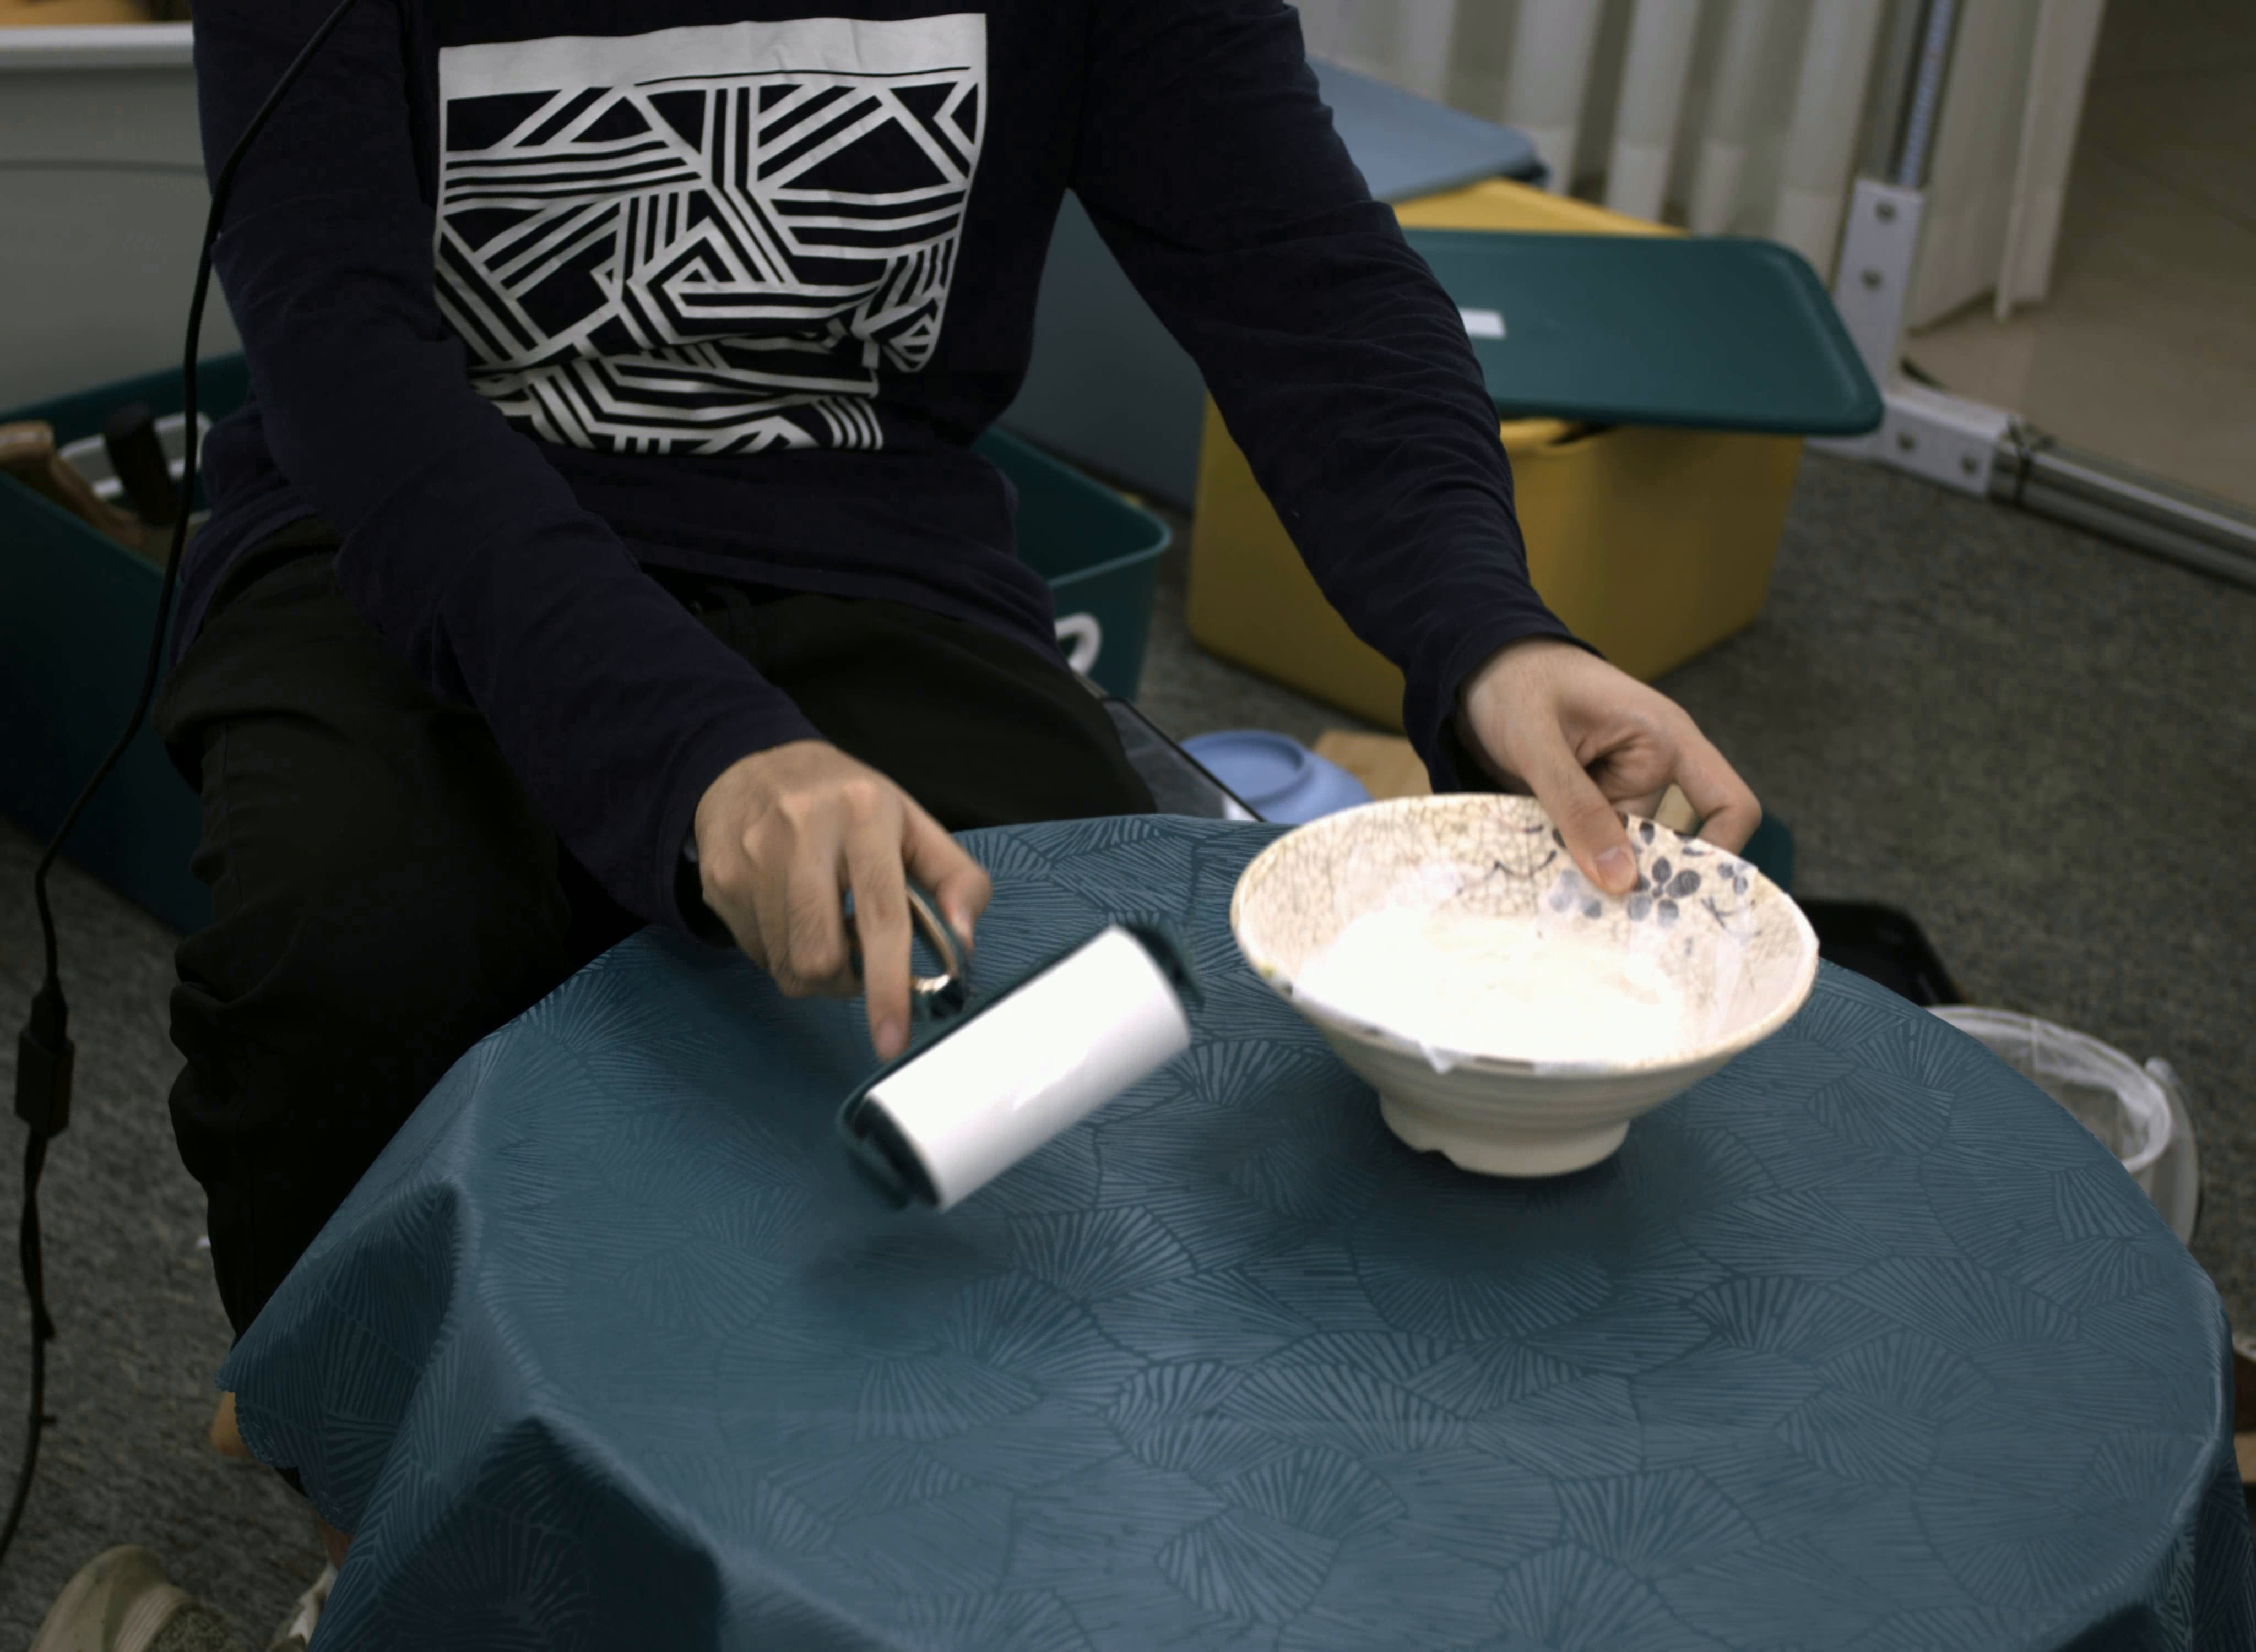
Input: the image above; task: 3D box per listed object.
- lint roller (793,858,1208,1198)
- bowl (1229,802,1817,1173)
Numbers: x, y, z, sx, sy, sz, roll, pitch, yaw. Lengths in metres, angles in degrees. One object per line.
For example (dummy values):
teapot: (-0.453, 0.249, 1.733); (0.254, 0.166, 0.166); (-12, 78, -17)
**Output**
lint roller: (-0.068, 0.043, 1.792); (0.134, 0.048, 0.182); (-35, 44, -13)
bowl: (0.133, 0.067, 1.845); (0.203, 0.078, 0.205); (4, 23, -2)
